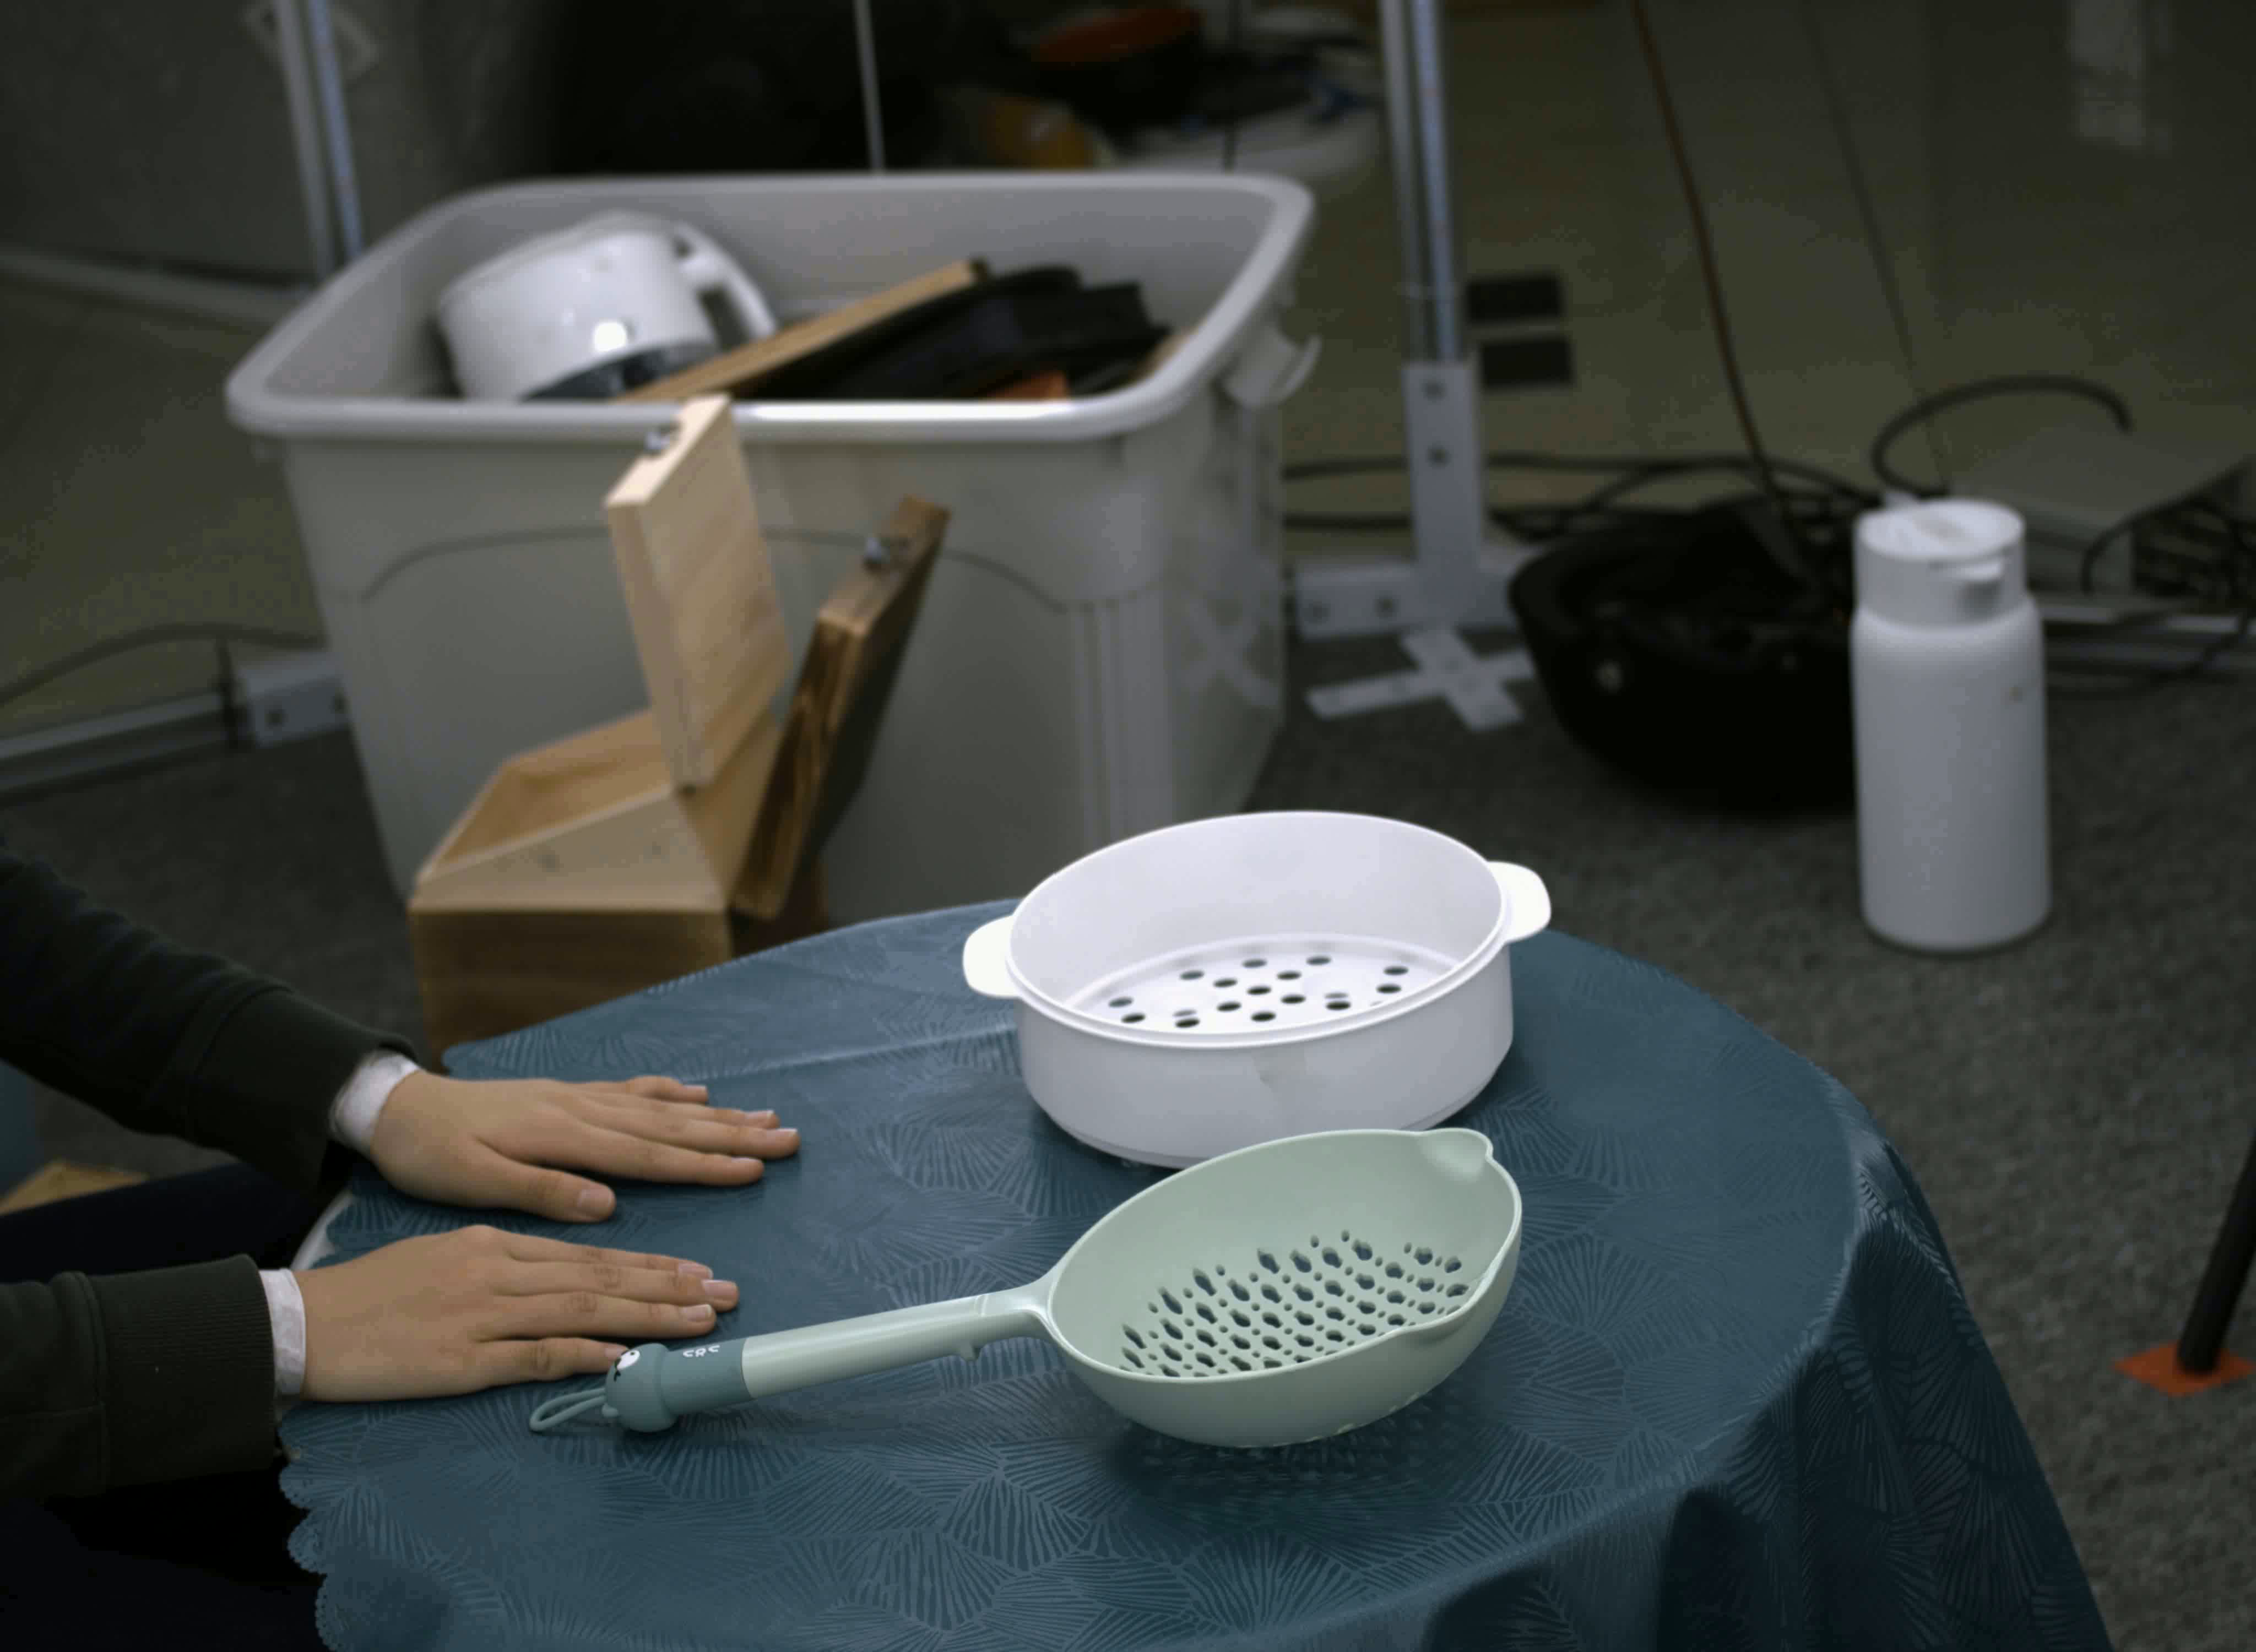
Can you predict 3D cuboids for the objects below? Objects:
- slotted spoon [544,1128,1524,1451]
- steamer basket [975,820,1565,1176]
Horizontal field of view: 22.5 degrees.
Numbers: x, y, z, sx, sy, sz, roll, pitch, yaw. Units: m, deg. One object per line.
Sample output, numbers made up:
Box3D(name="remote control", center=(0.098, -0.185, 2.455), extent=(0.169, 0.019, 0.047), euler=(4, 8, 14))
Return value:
Box3D(name="slotted spoon", center=(-0.037, 0.177, 2.003), extent=(0.358, 0.076, 0.167), euler=(-3, 25, 8))
Box3D(name="steamer basket", center=(0.058, 0.067, 2.216), extent=(0.230, 0.070, 0.199), euler=(-7, 24, -1))
